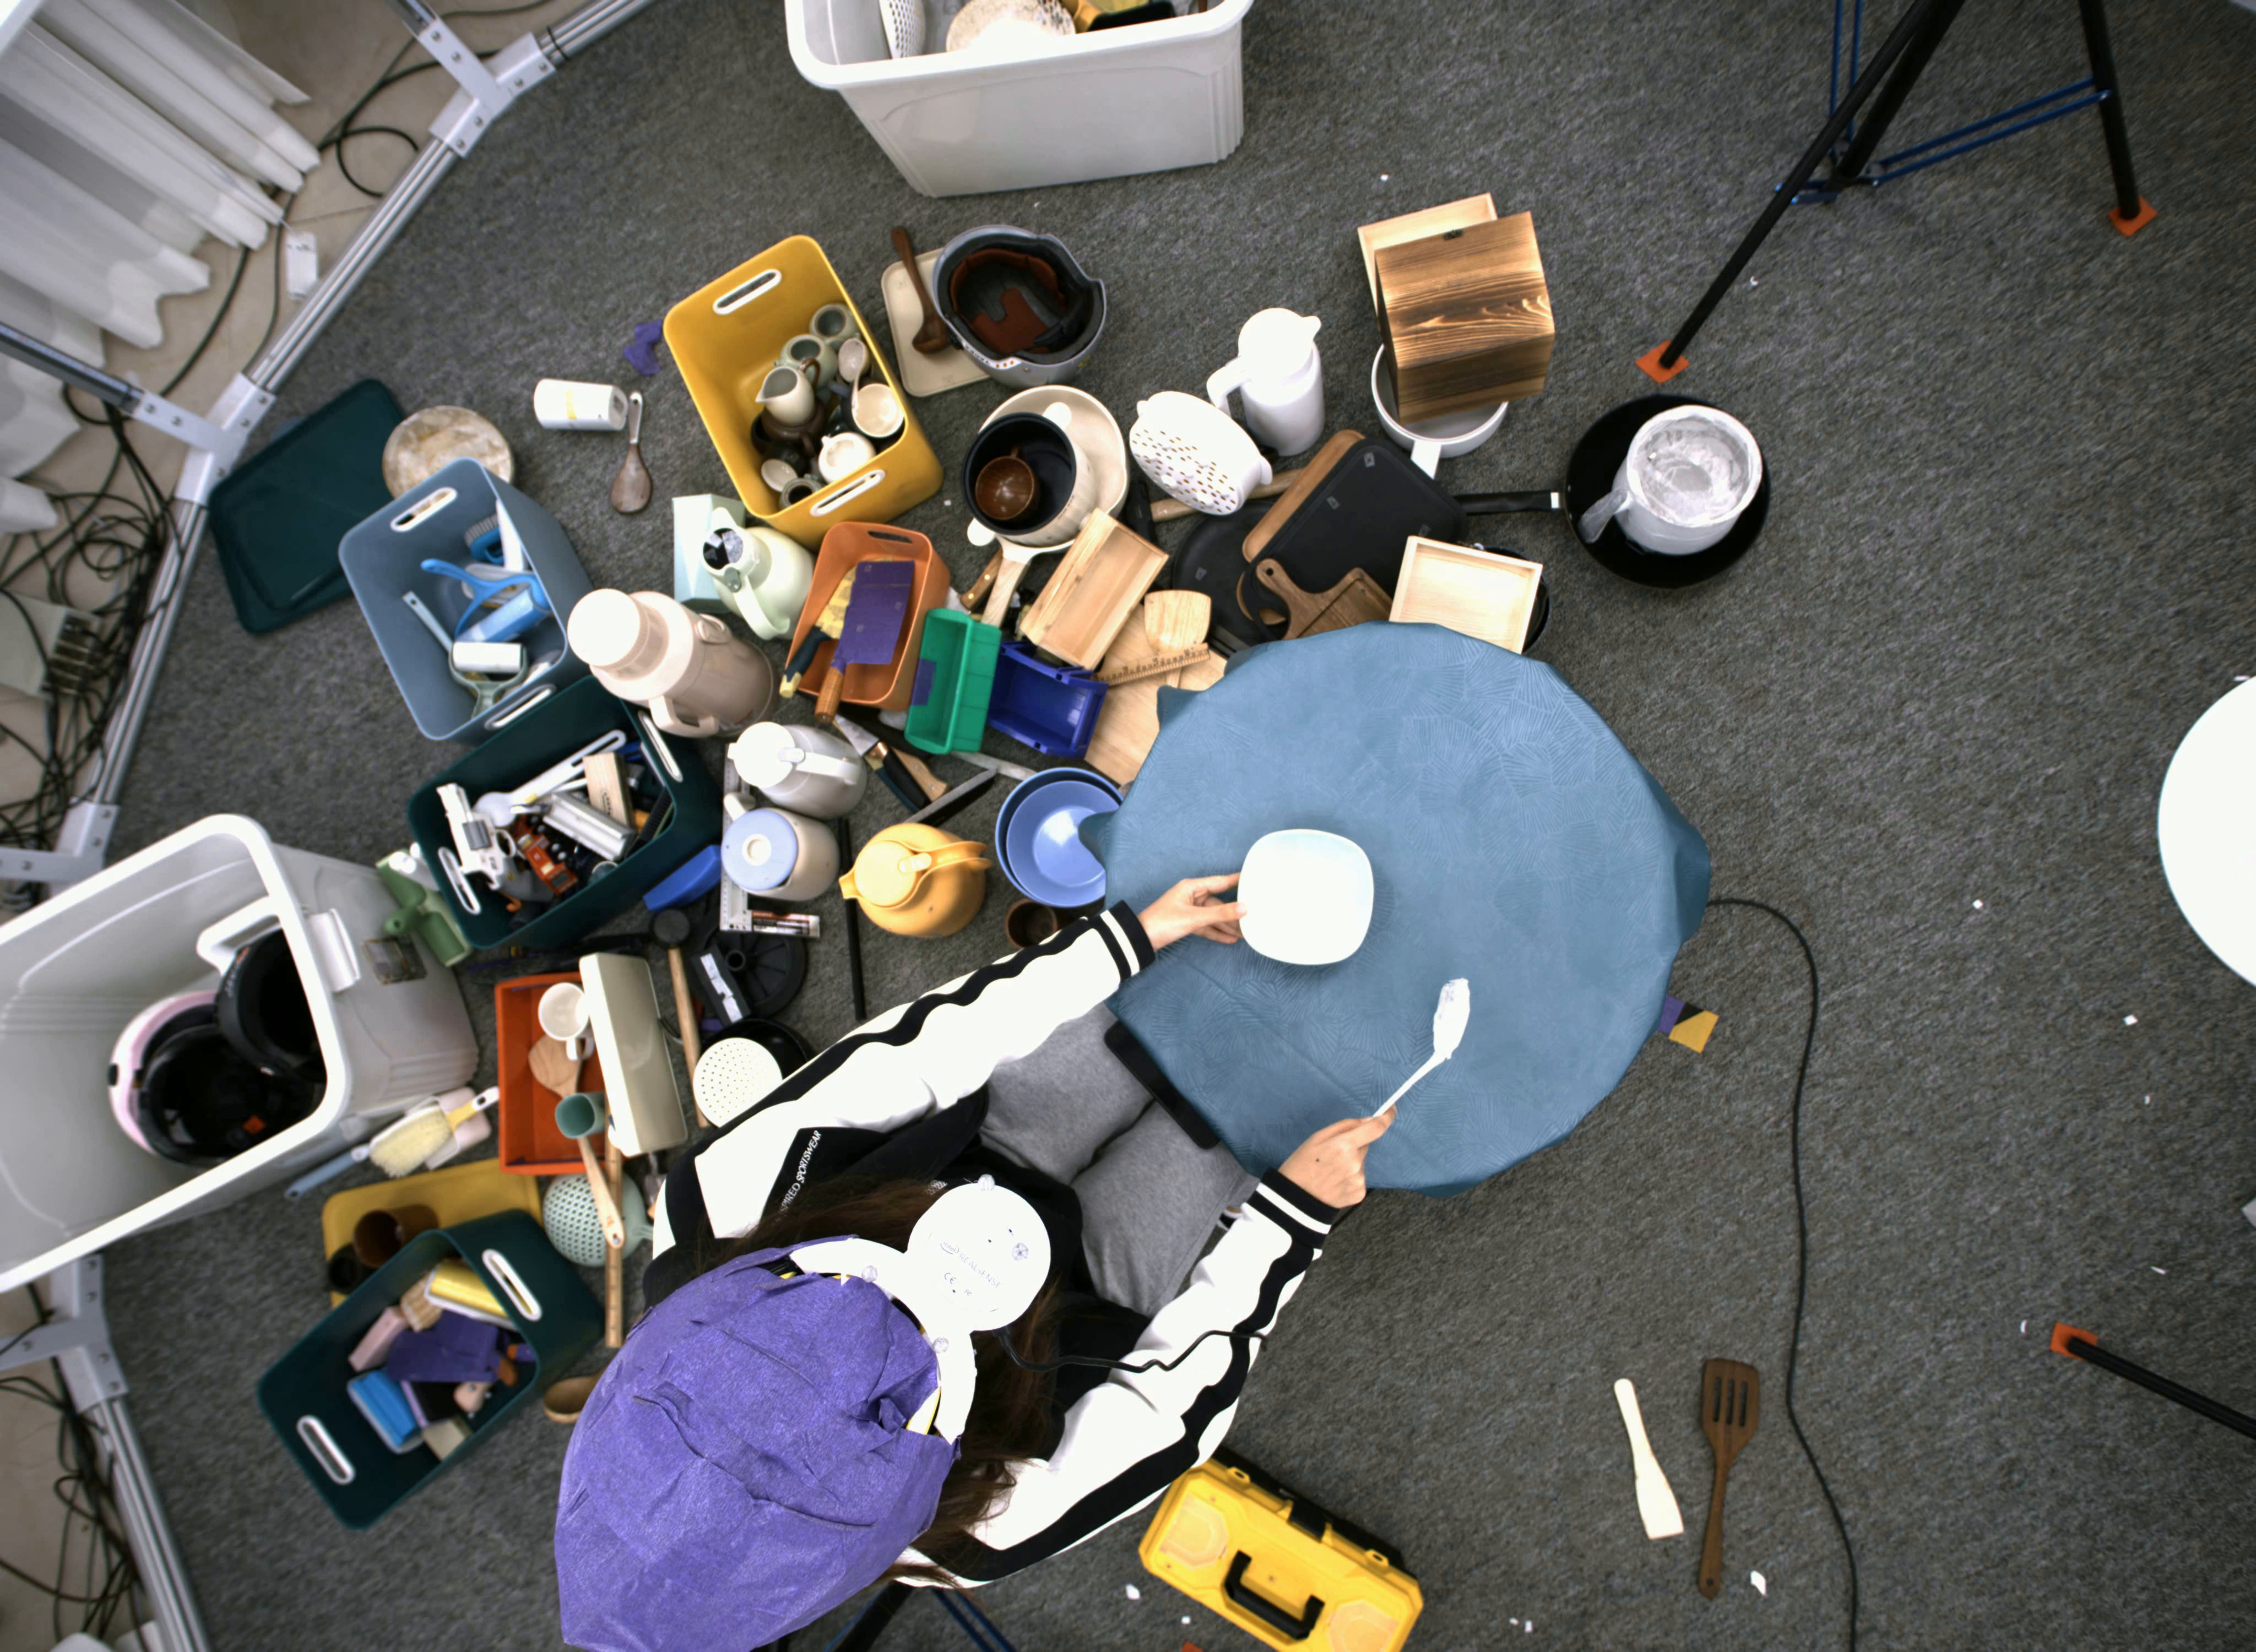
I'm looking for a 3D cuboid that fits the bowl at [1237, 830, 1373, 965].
[{"bbox_3d":[0.186,0.076,1.449,0.152,0.058,0.151,-1,86,10],"label":"bowl"}]

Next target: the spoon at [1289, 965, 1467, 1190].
[{"bbox_3d":[0.243,0.250,1.374,0.059,0.099,0.280,45,103,2],"label":"spoon"}]
